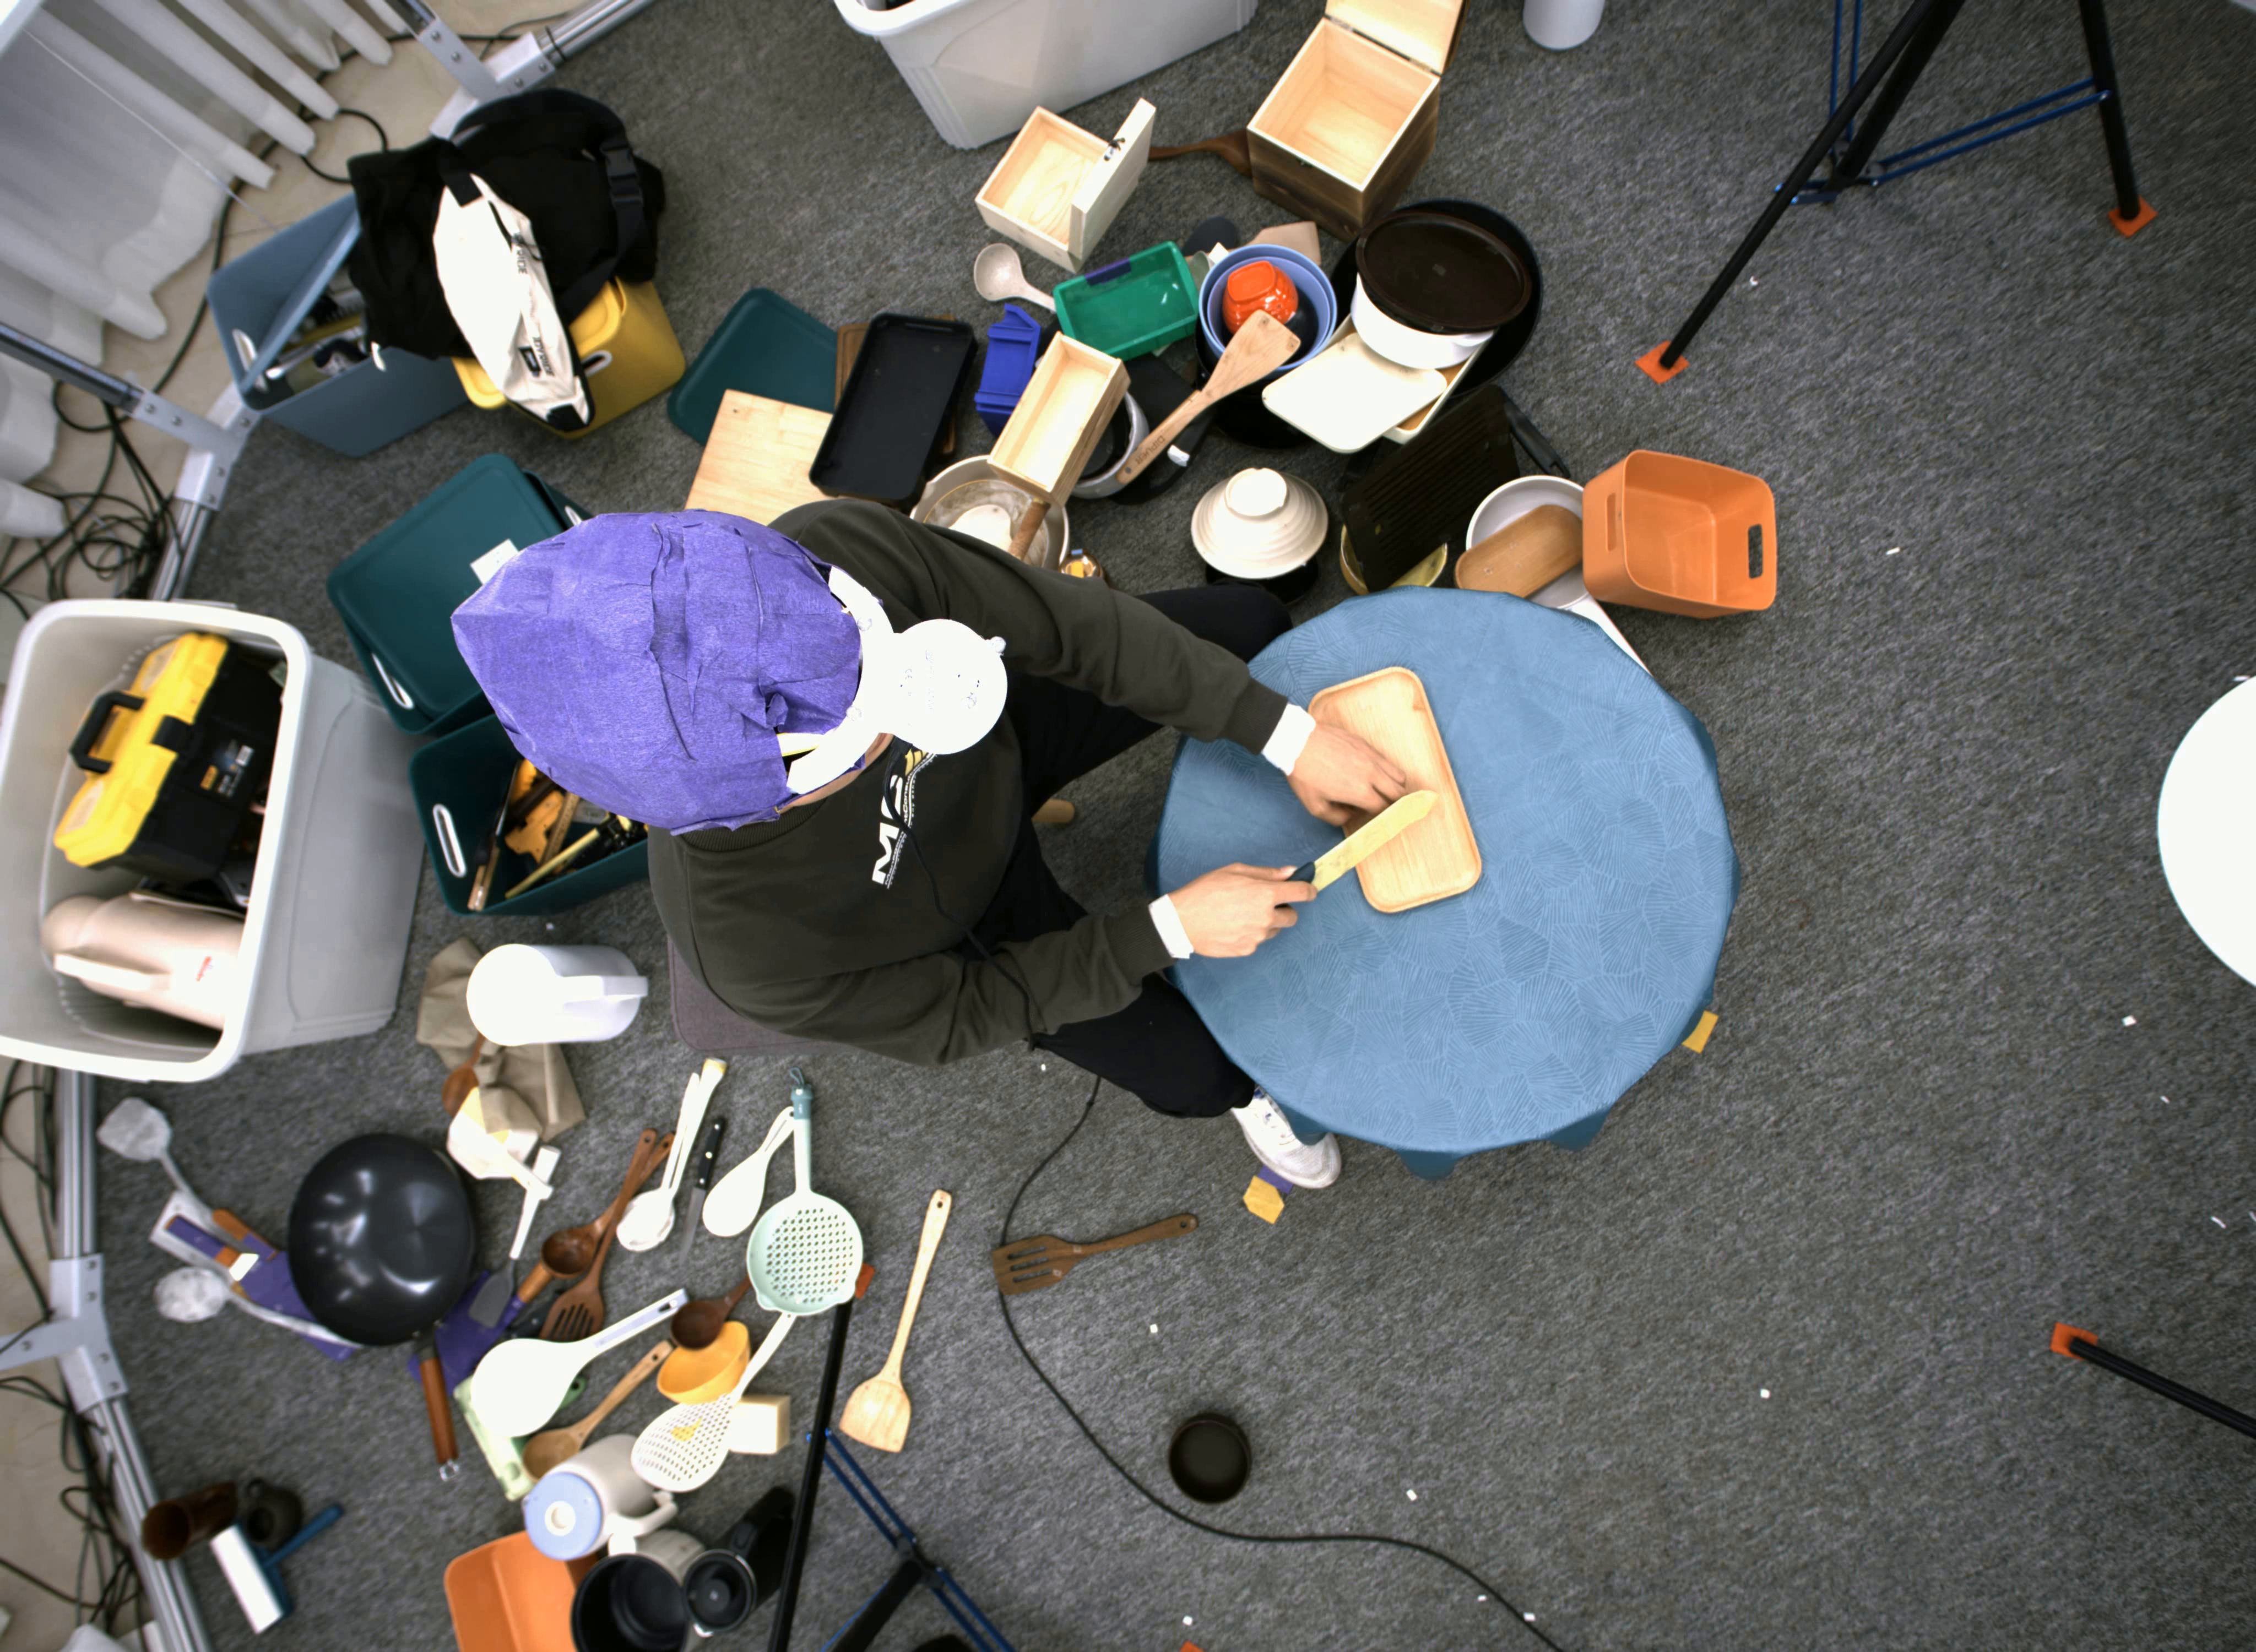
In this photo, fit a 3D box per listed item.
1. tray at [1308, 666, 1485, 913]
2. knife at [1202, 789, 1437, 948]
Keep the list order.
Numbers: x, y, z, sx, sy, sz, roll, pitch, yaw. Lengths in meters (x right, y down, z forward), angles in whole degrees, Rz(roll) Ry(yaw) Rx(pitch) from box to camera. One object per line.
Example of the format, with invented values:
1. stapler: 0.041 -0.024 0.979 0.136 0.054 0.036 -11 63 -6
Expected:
1. tray: 0.284 -0.040 1.459 0.131 0.023 0.250 -18 87 12
2. knife: 0.200 0.043 1.418 0.289 0.082 0.027 -33 60 -3
